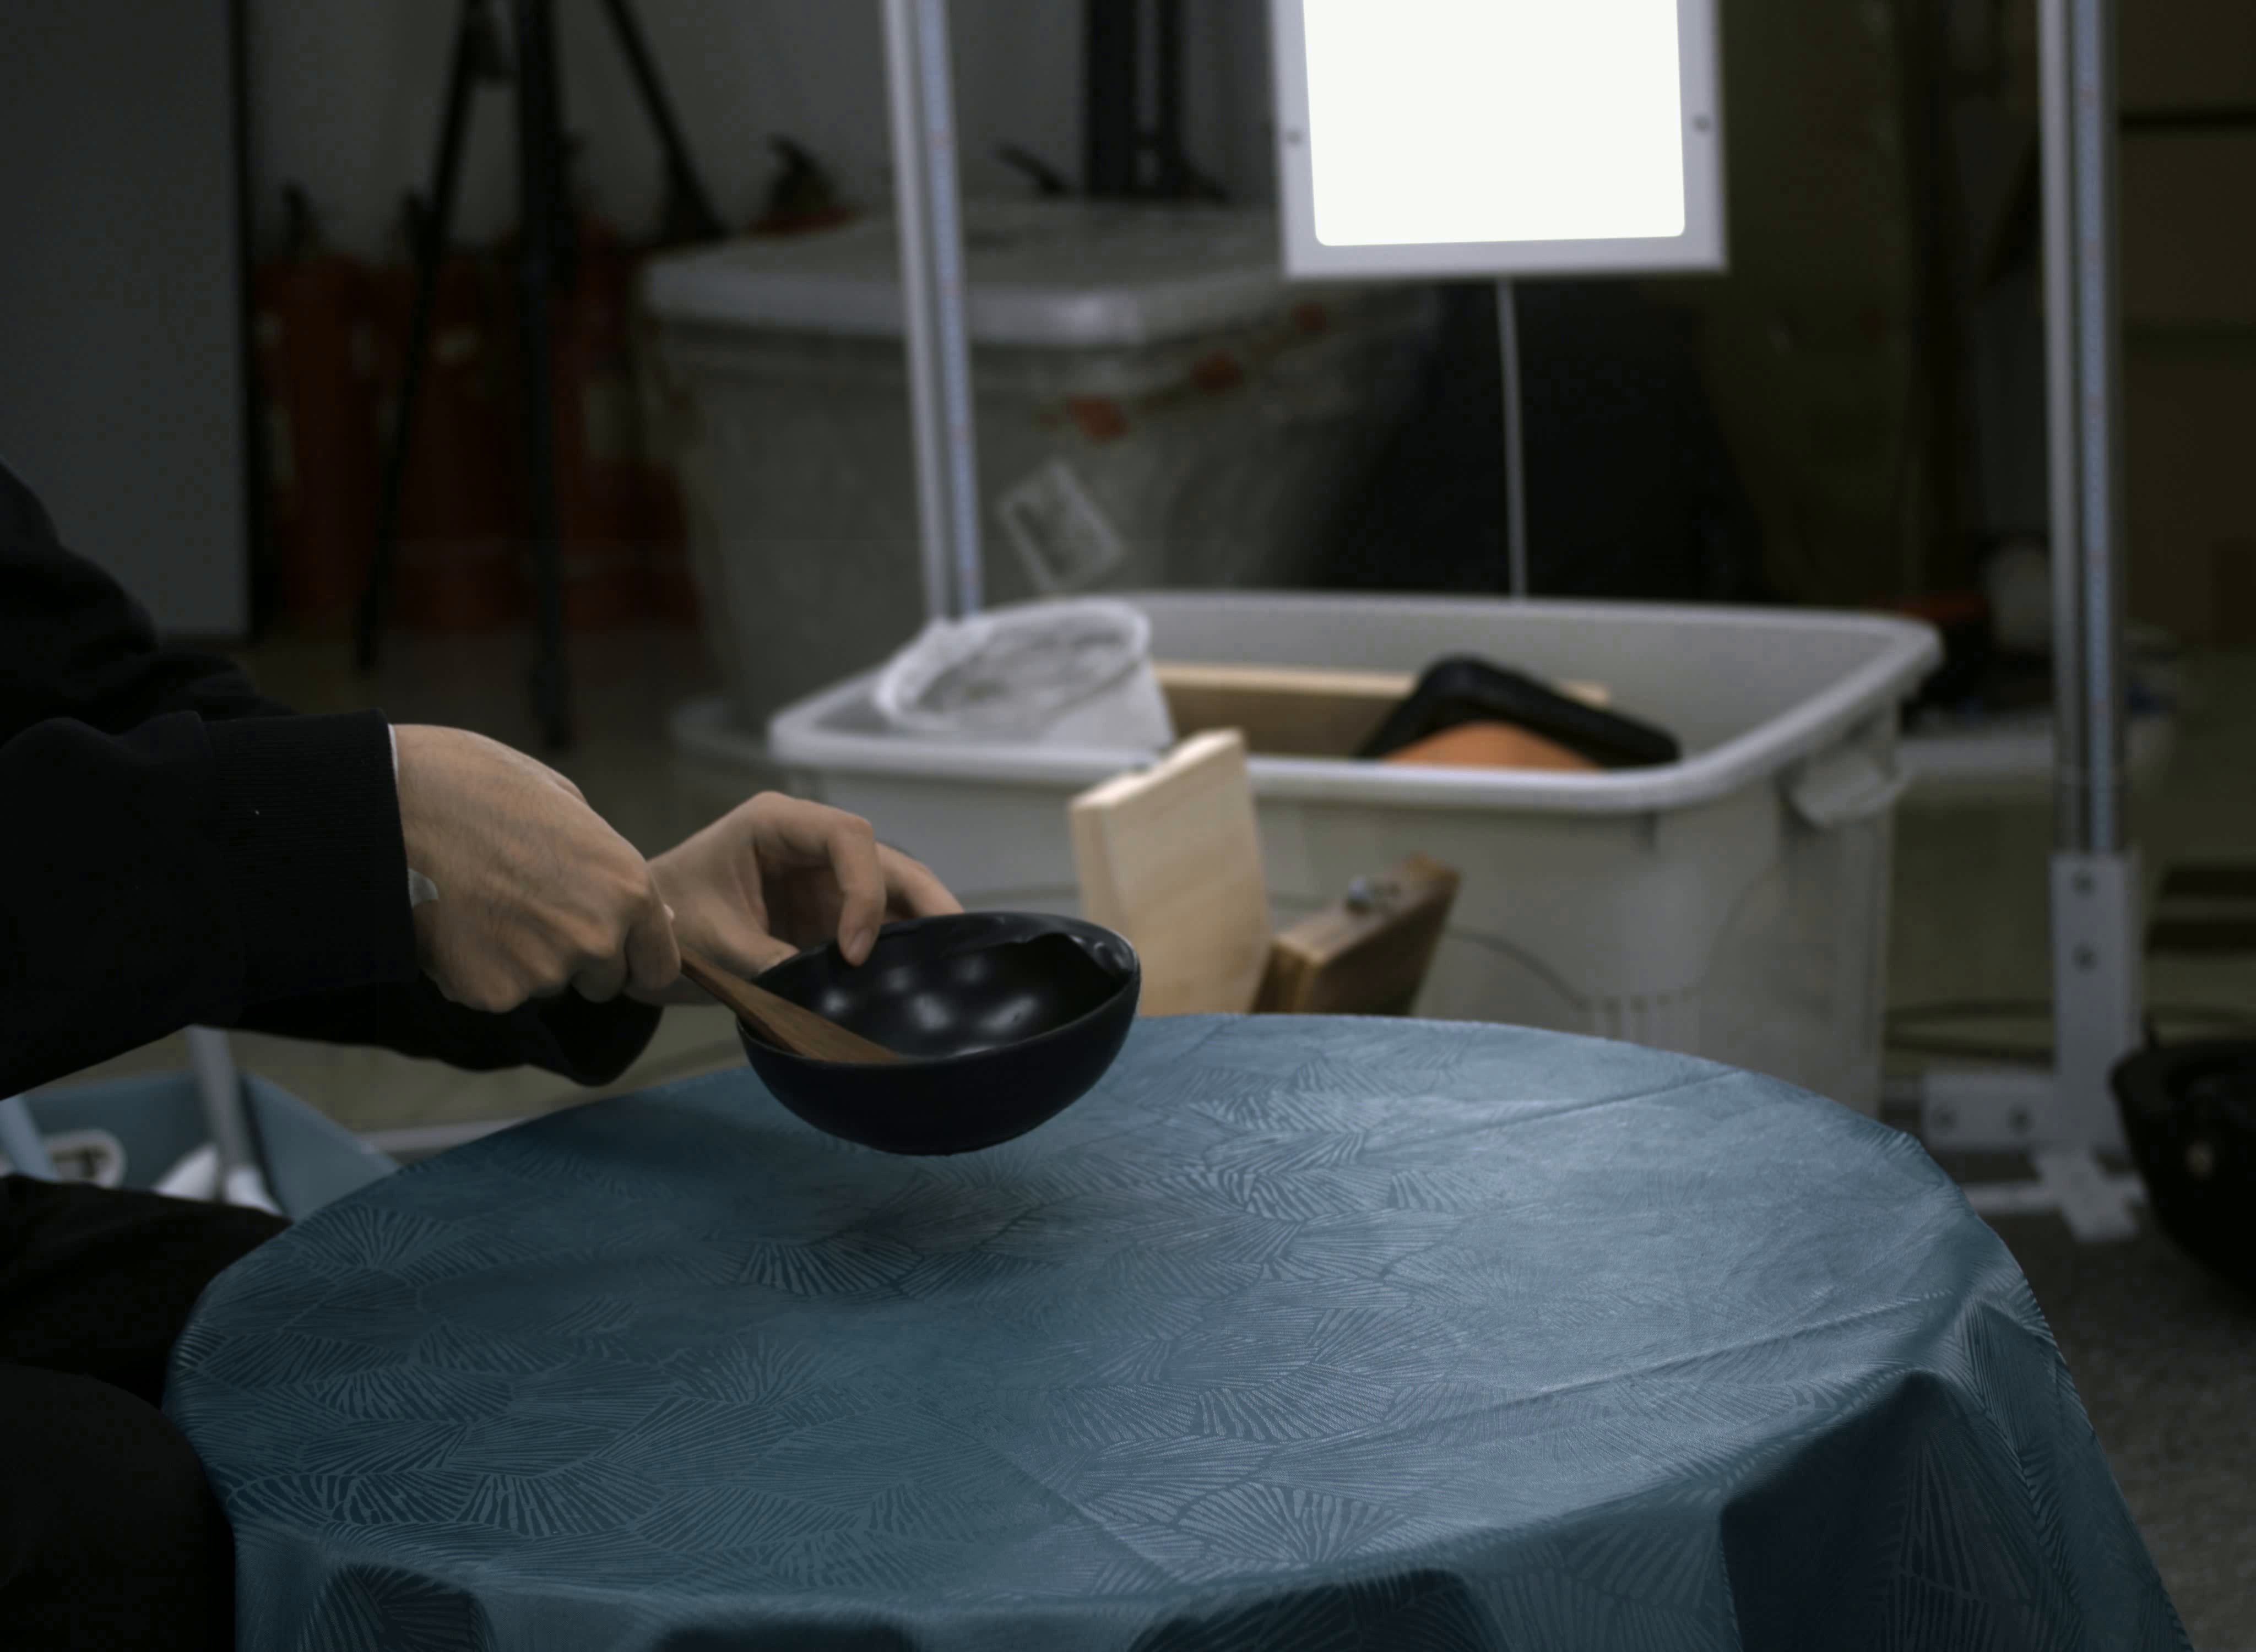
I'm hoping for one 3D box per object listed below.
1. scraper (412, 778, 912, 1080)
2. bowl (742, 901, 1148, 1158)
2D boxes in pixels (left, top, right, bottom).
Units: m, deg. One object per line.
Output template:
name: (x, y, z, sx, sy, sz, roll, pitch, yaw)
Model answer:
scraper: (-0.151, 0.043, 1.856, 0.210, 0.011, 0.076, 33, 8, -7)
bowl: (-0.059, 0.075, 1.873, 0.140, 0.050, 0.140, -8, 22, 2)
